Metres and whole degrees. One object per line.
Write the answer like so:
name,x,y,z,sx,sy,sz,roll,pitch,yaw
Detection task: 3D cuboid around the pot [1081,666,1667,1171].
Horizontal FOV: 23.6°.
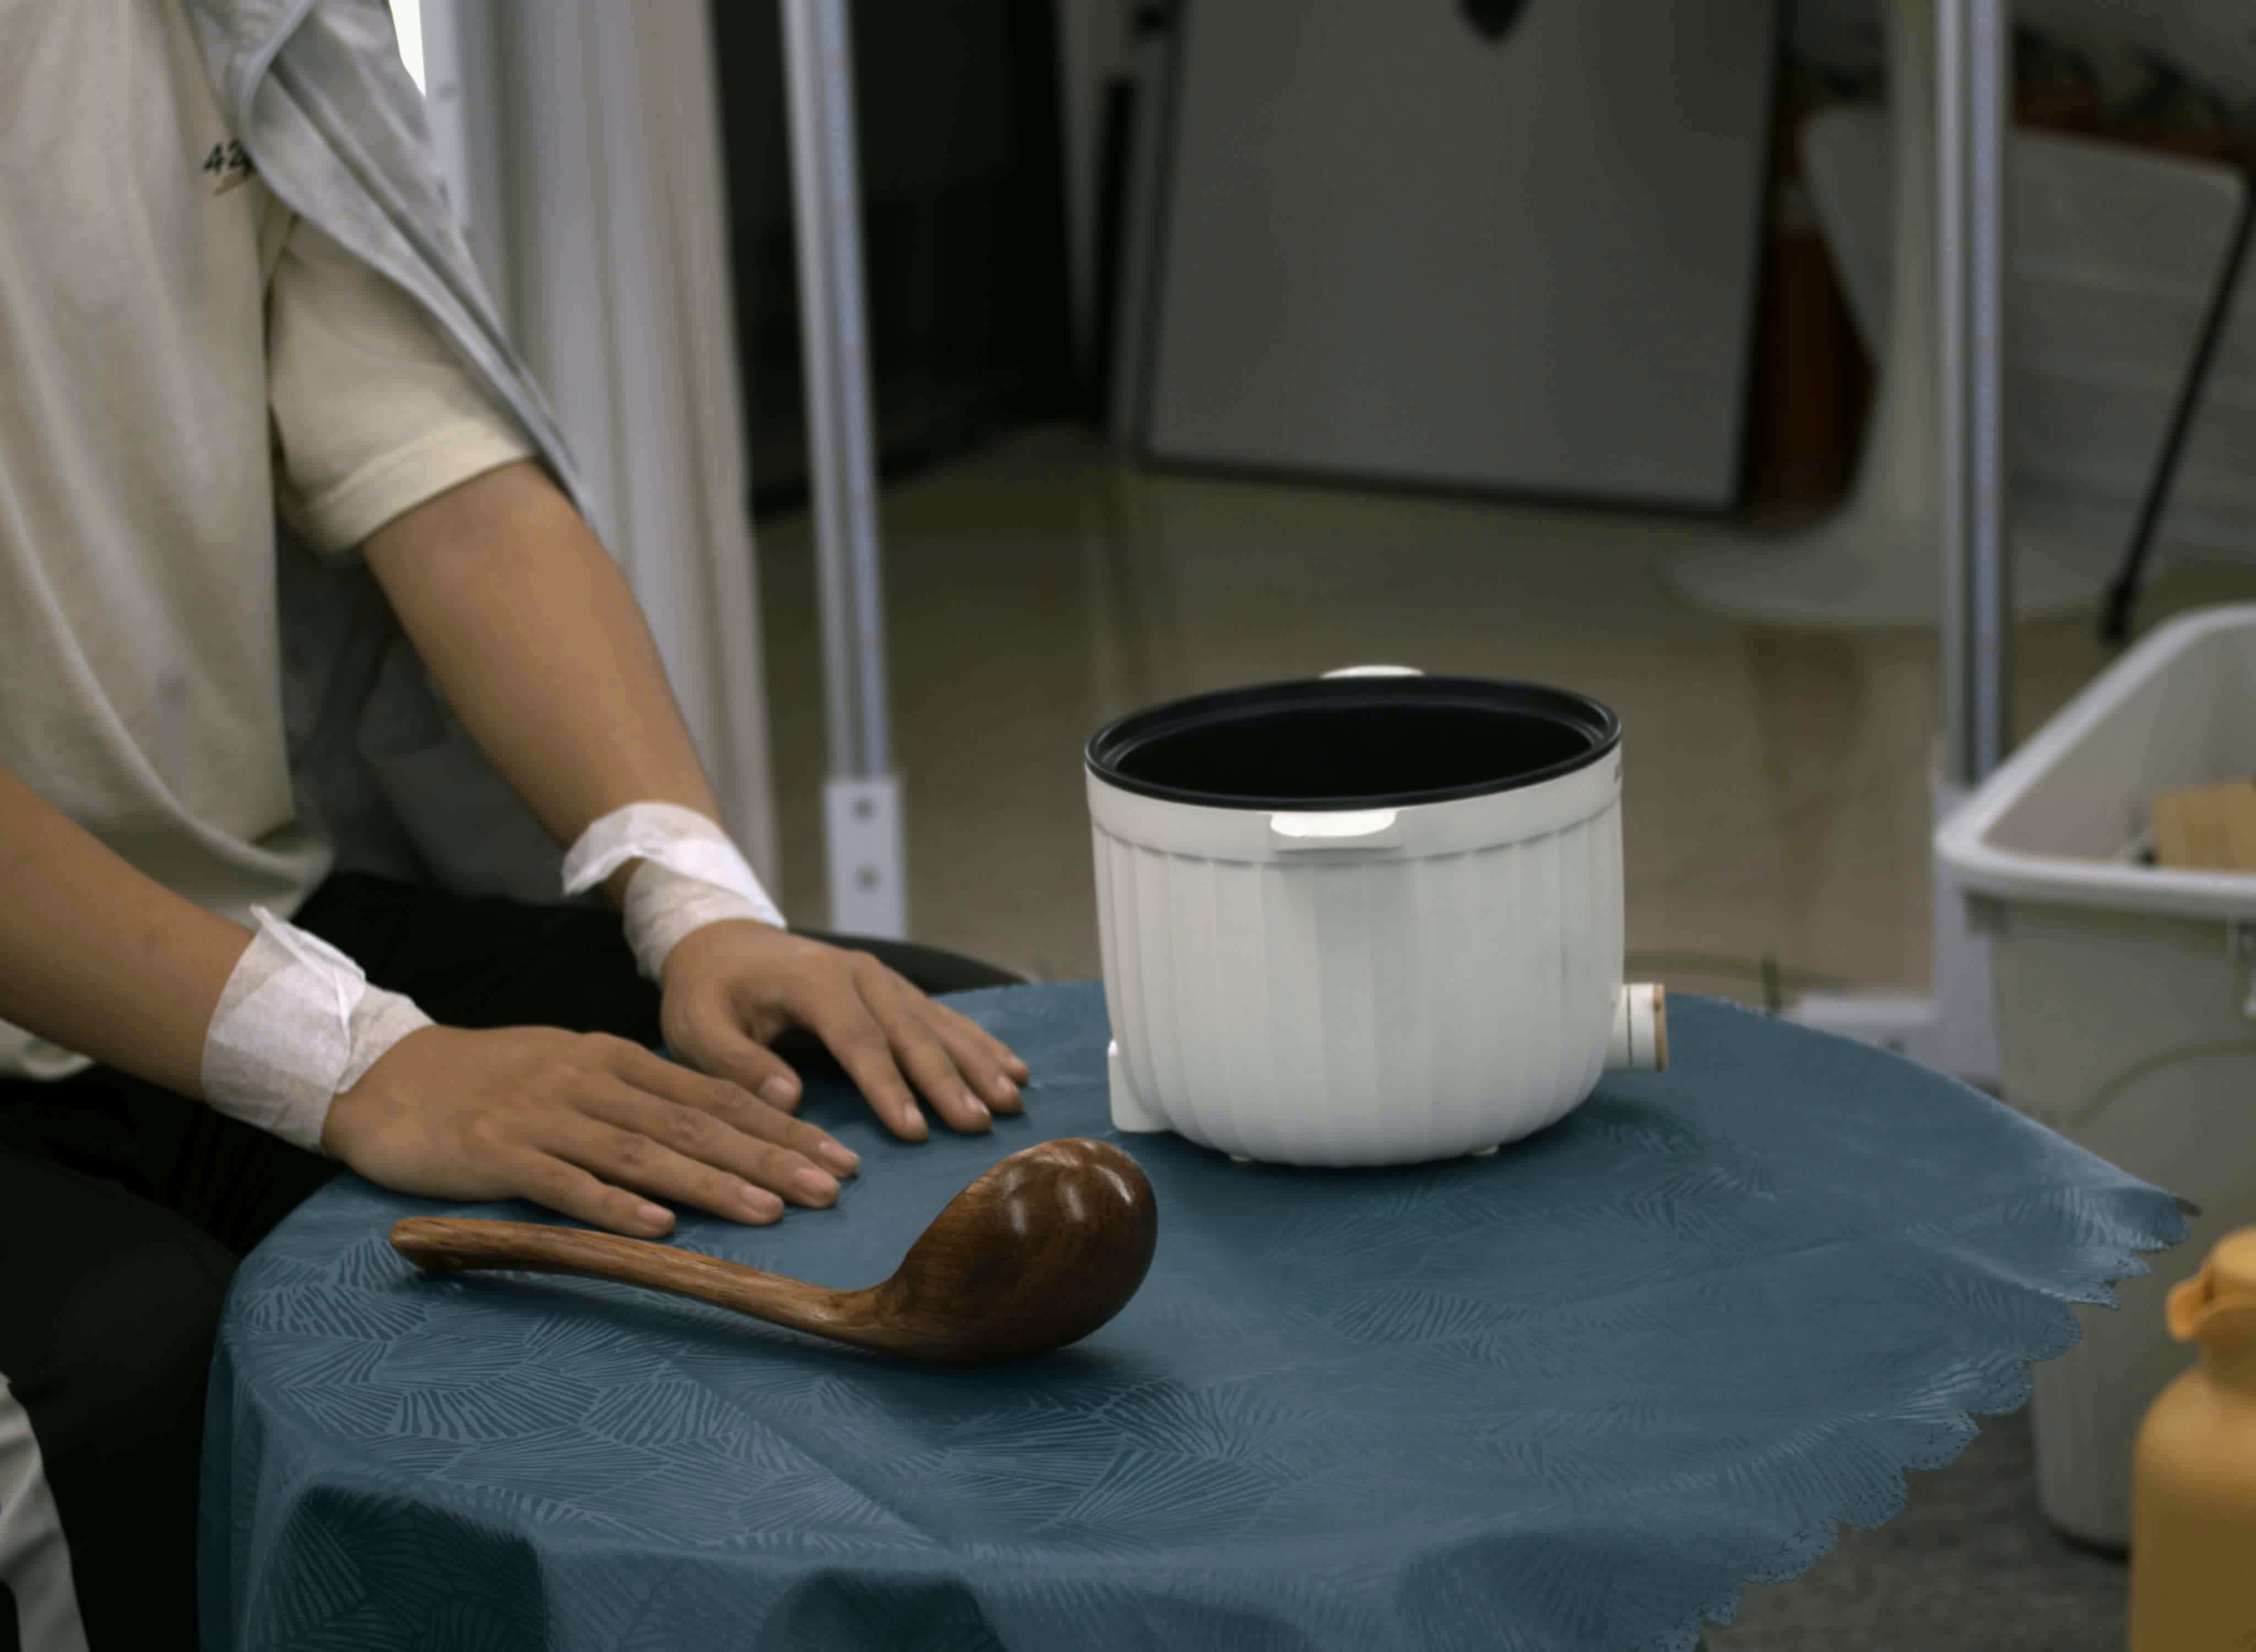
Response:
pot,0.084,0.032,1.818,0.189,0.144,0.240,-6,14,8

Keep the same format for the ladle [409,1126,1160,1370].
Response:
ladle,-0.111,0.120,1.668,0.276,0.077,0.081,5,-26,39
